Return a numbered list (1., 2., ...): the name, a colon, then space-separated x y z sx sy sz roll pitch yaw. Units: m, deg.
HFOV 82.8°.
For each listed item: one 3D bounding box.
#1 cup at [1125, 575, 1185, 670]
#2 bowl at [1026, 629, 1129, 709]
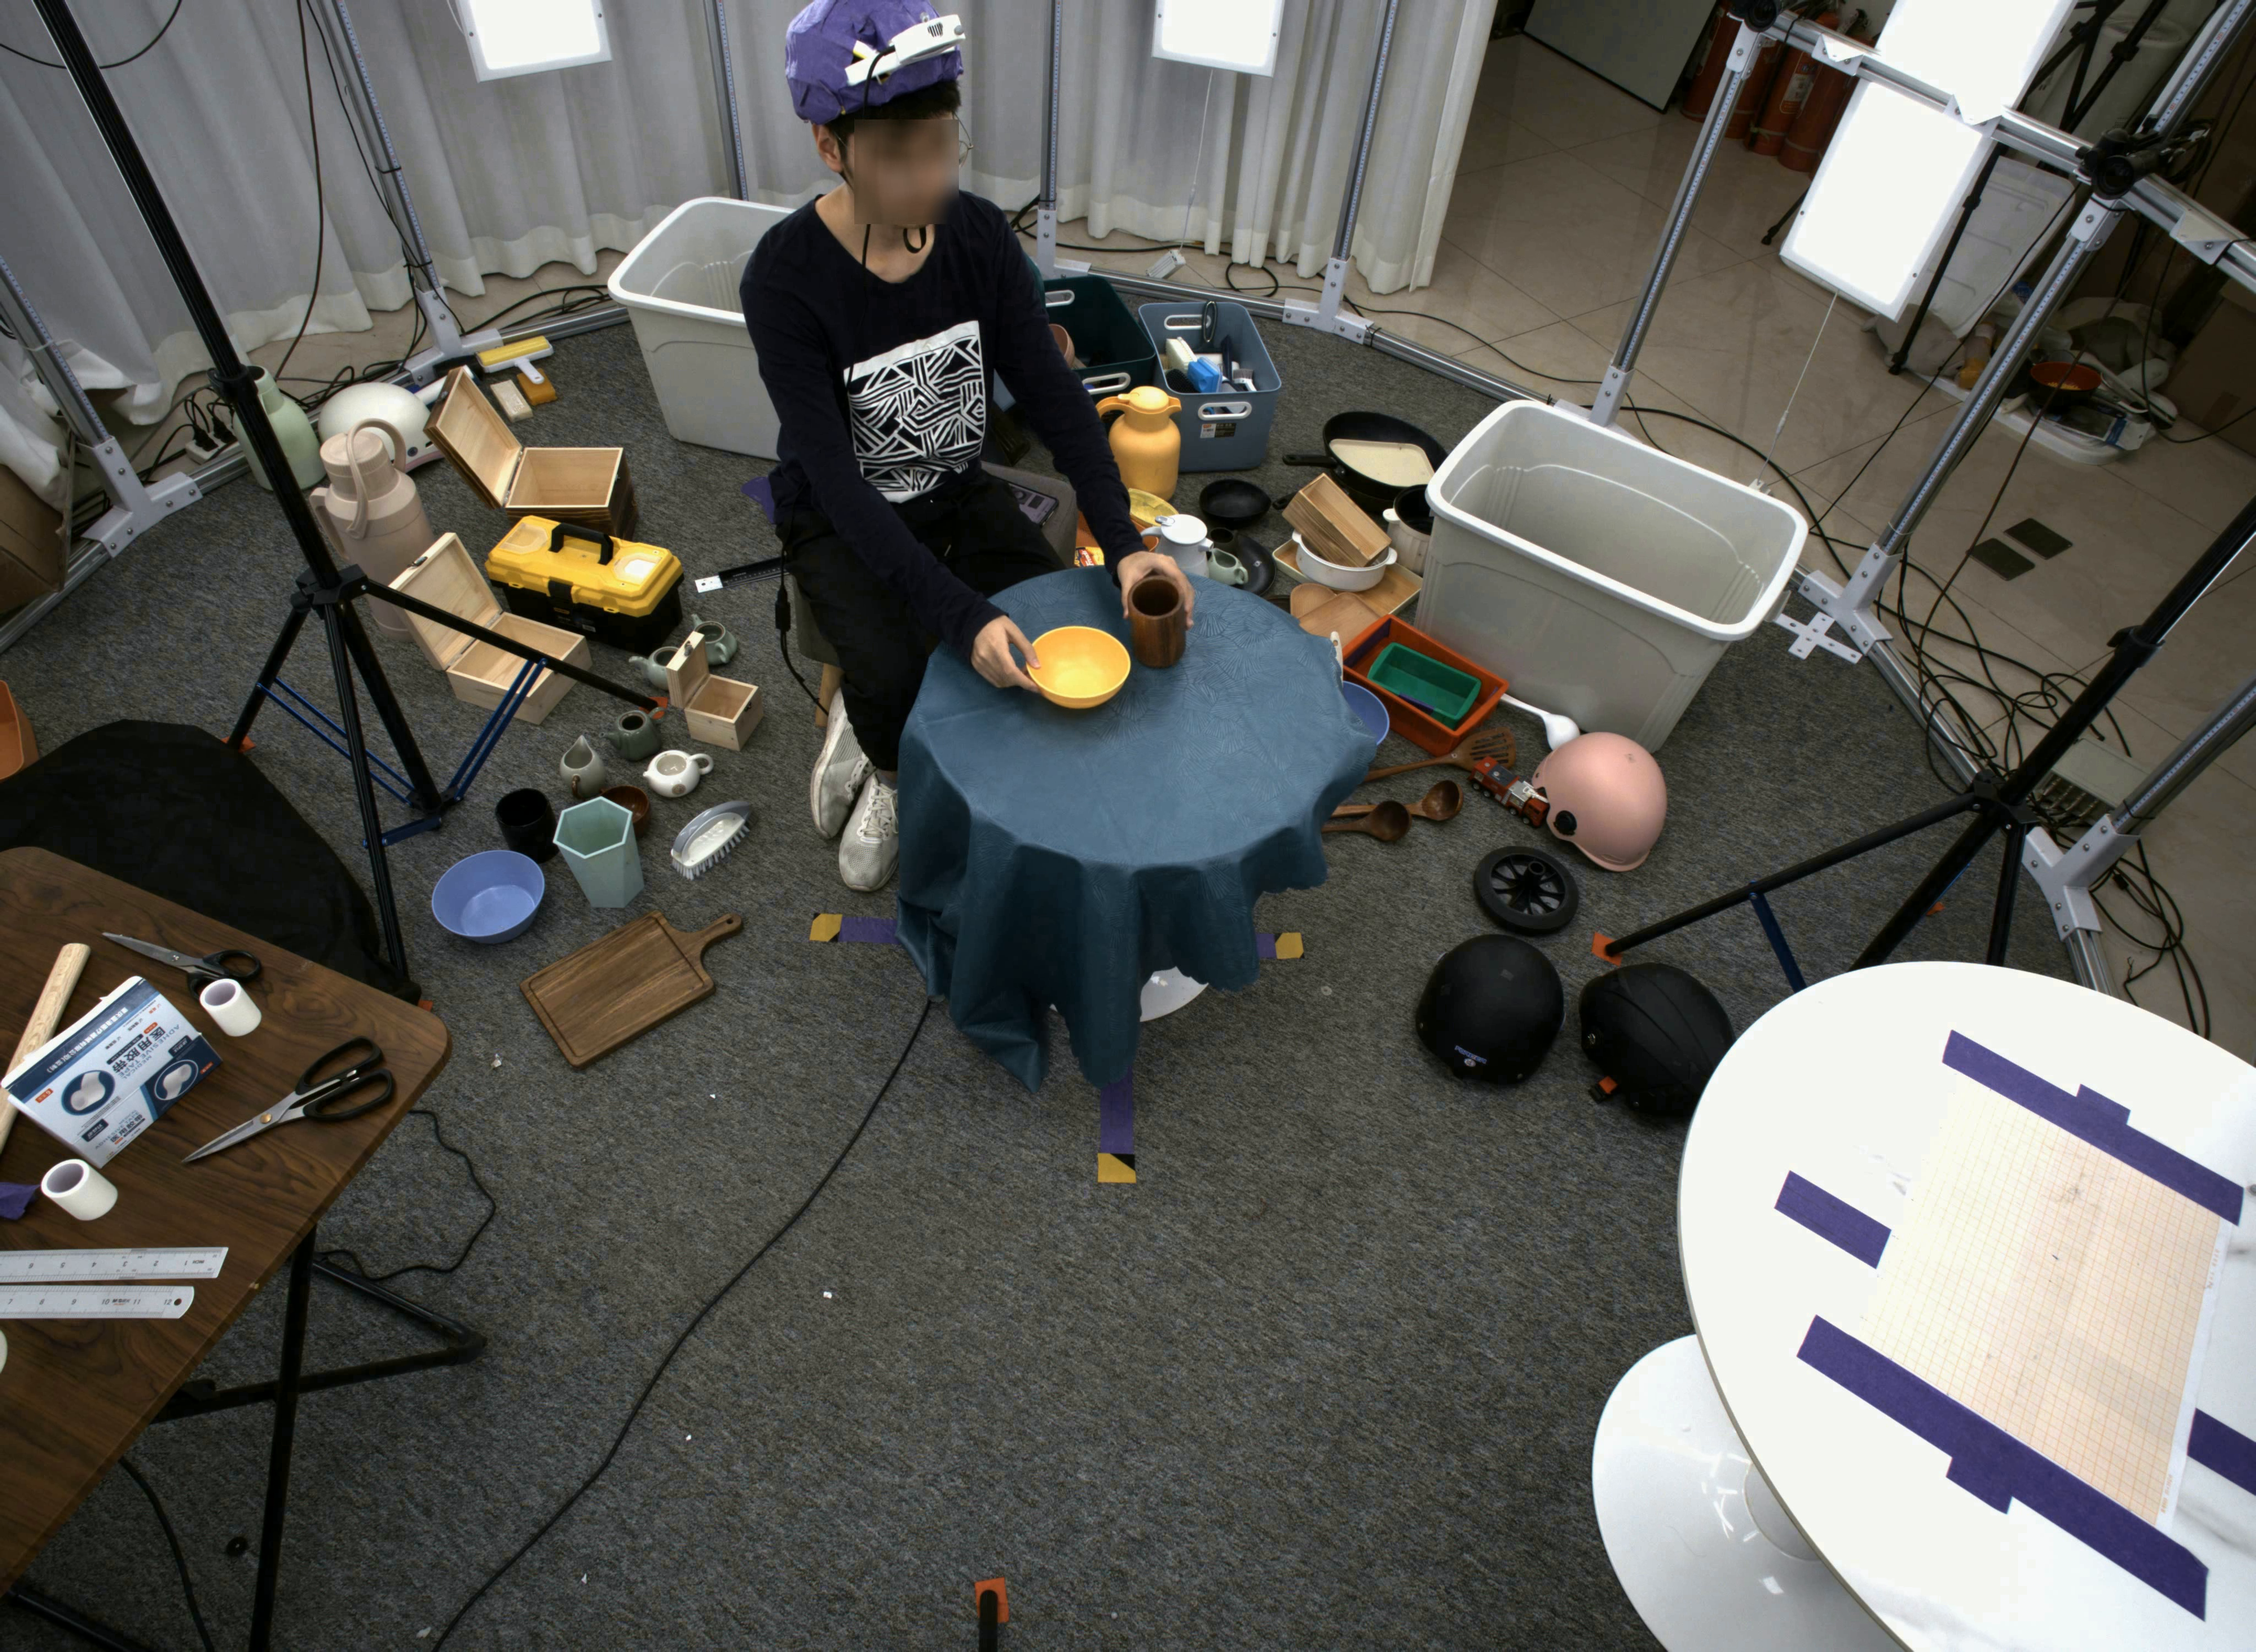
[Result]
1. cup: 0.040 -0.290 1.836 0.088 0.115 0.090 -2 57 3
2. bowl: -0.072 -0.210 1.808 0.145 0.058 0.149 2 47 -2
